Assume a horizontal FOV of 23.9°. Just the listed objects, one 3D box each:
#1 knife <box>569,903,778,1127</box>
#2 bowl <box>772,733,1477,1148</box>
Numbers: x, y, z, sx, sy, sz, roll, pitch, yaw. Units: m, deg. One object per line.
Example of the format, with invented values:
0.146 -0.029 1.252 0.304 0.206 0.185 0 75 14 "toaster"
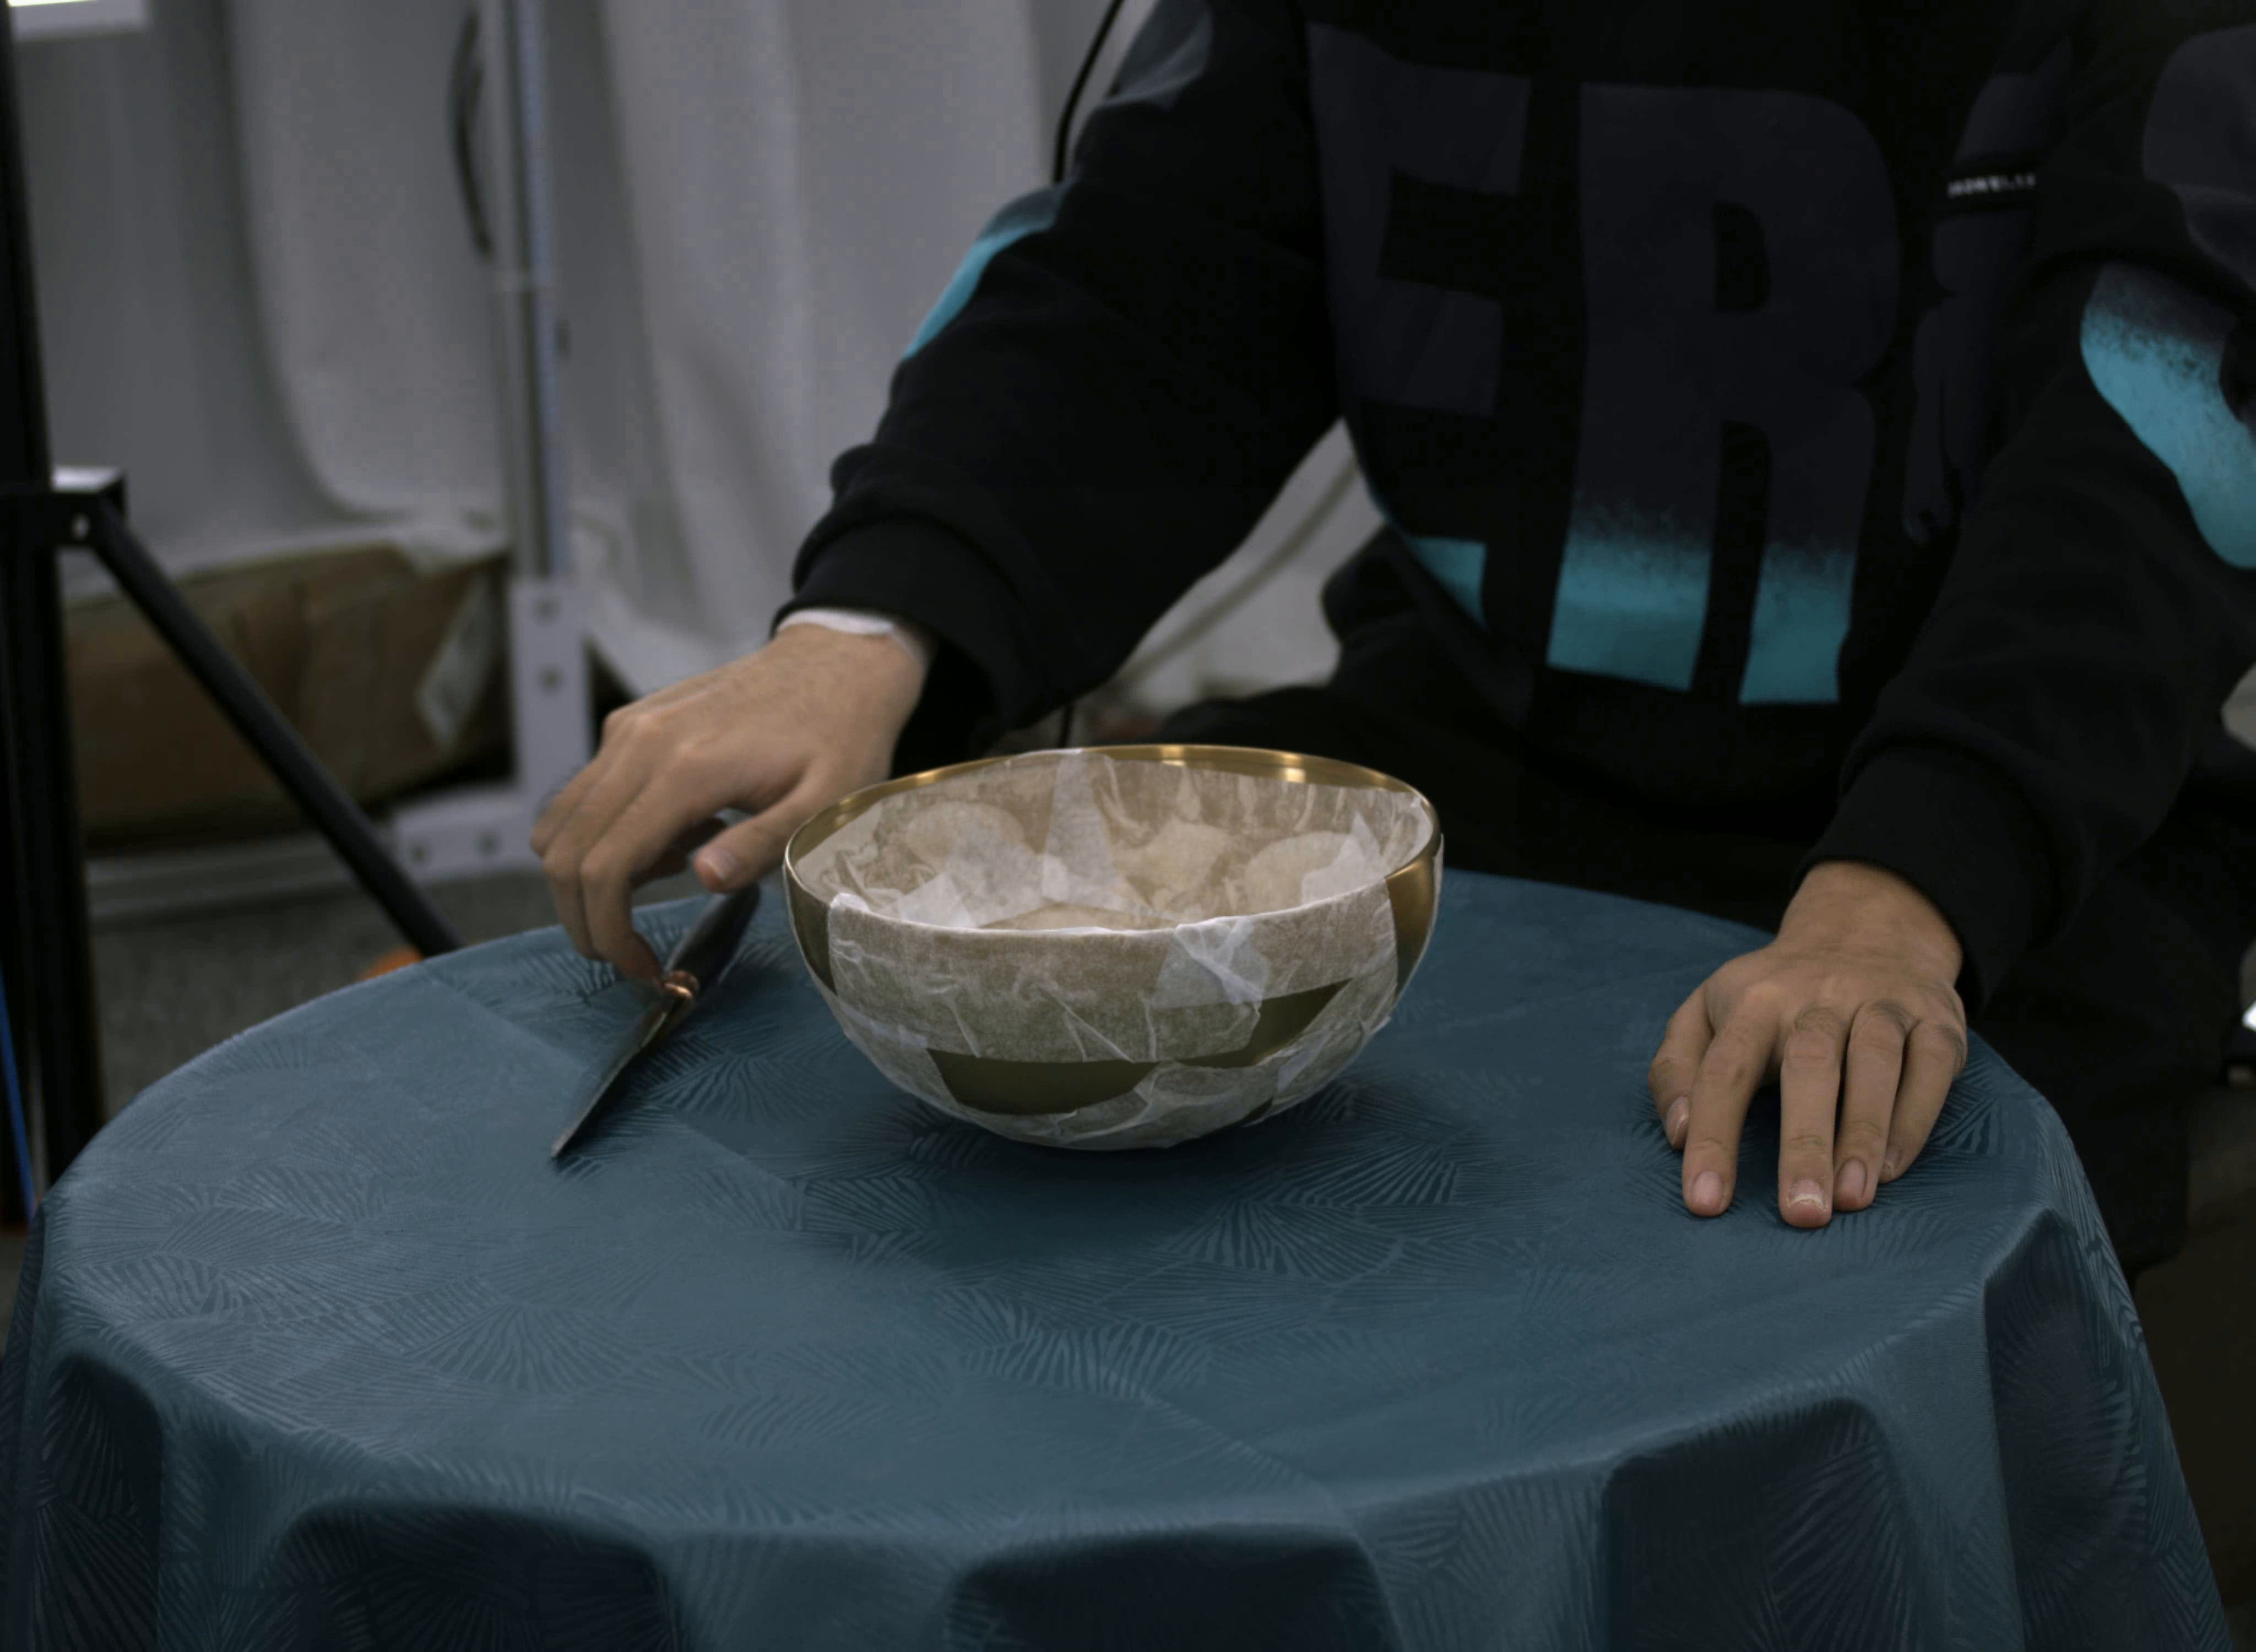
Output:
-0.147 0.062 1.703 0.026 0.017 0.224 -39 5 19 "knife"
0.000 0.043 1.614 0.214 0.094 0.216 -4 15 0 "bowl"
